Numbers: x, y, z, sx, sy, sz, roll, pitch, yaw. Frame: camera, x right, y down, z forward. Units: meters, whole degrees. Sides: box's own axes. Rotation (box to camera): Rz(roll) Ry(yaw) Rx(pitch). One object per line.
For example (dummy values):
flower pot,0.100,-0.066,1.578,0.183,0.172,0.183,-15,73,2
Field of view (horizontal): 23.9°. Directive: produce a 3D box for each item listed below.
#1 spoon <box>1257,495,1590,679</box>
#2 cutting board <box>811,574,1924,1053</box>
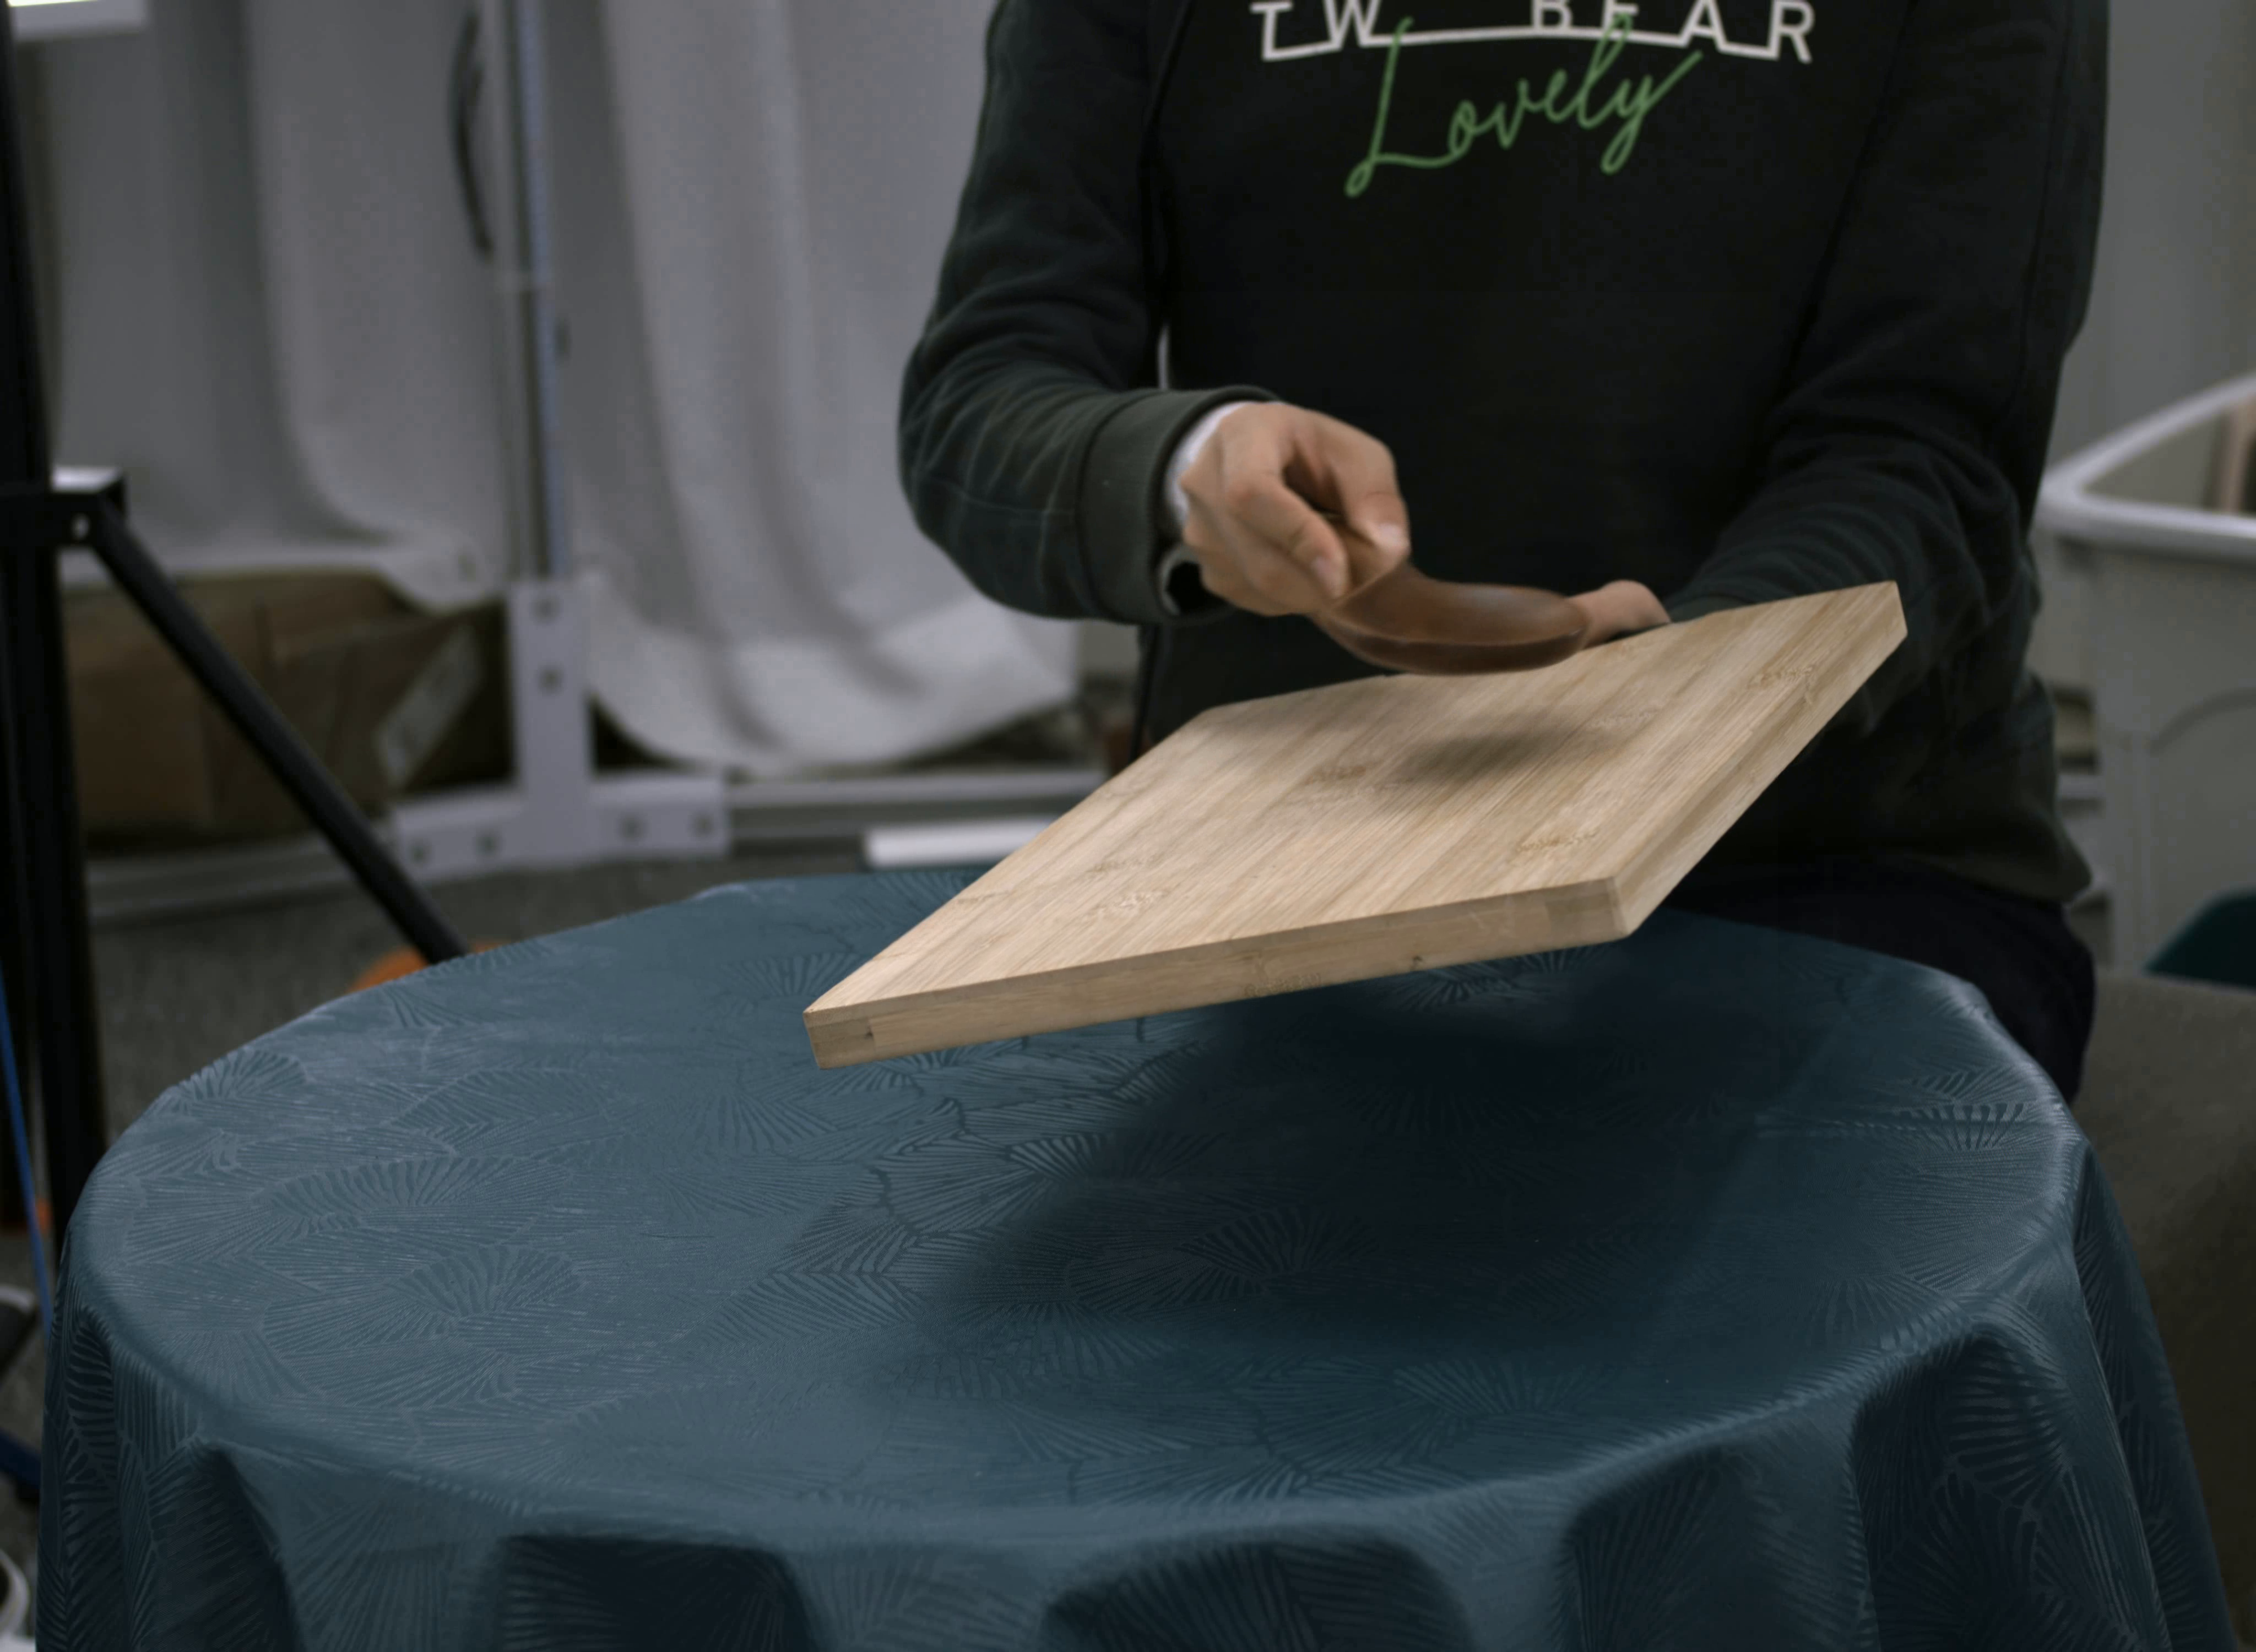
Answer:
spoon,0.080,-0.072,1.615,0.074,0.017,0.219,-7,17,-13
cutting board,0.081,-0.006,1.569,0.254,0.023,0.344,-10,12,23
